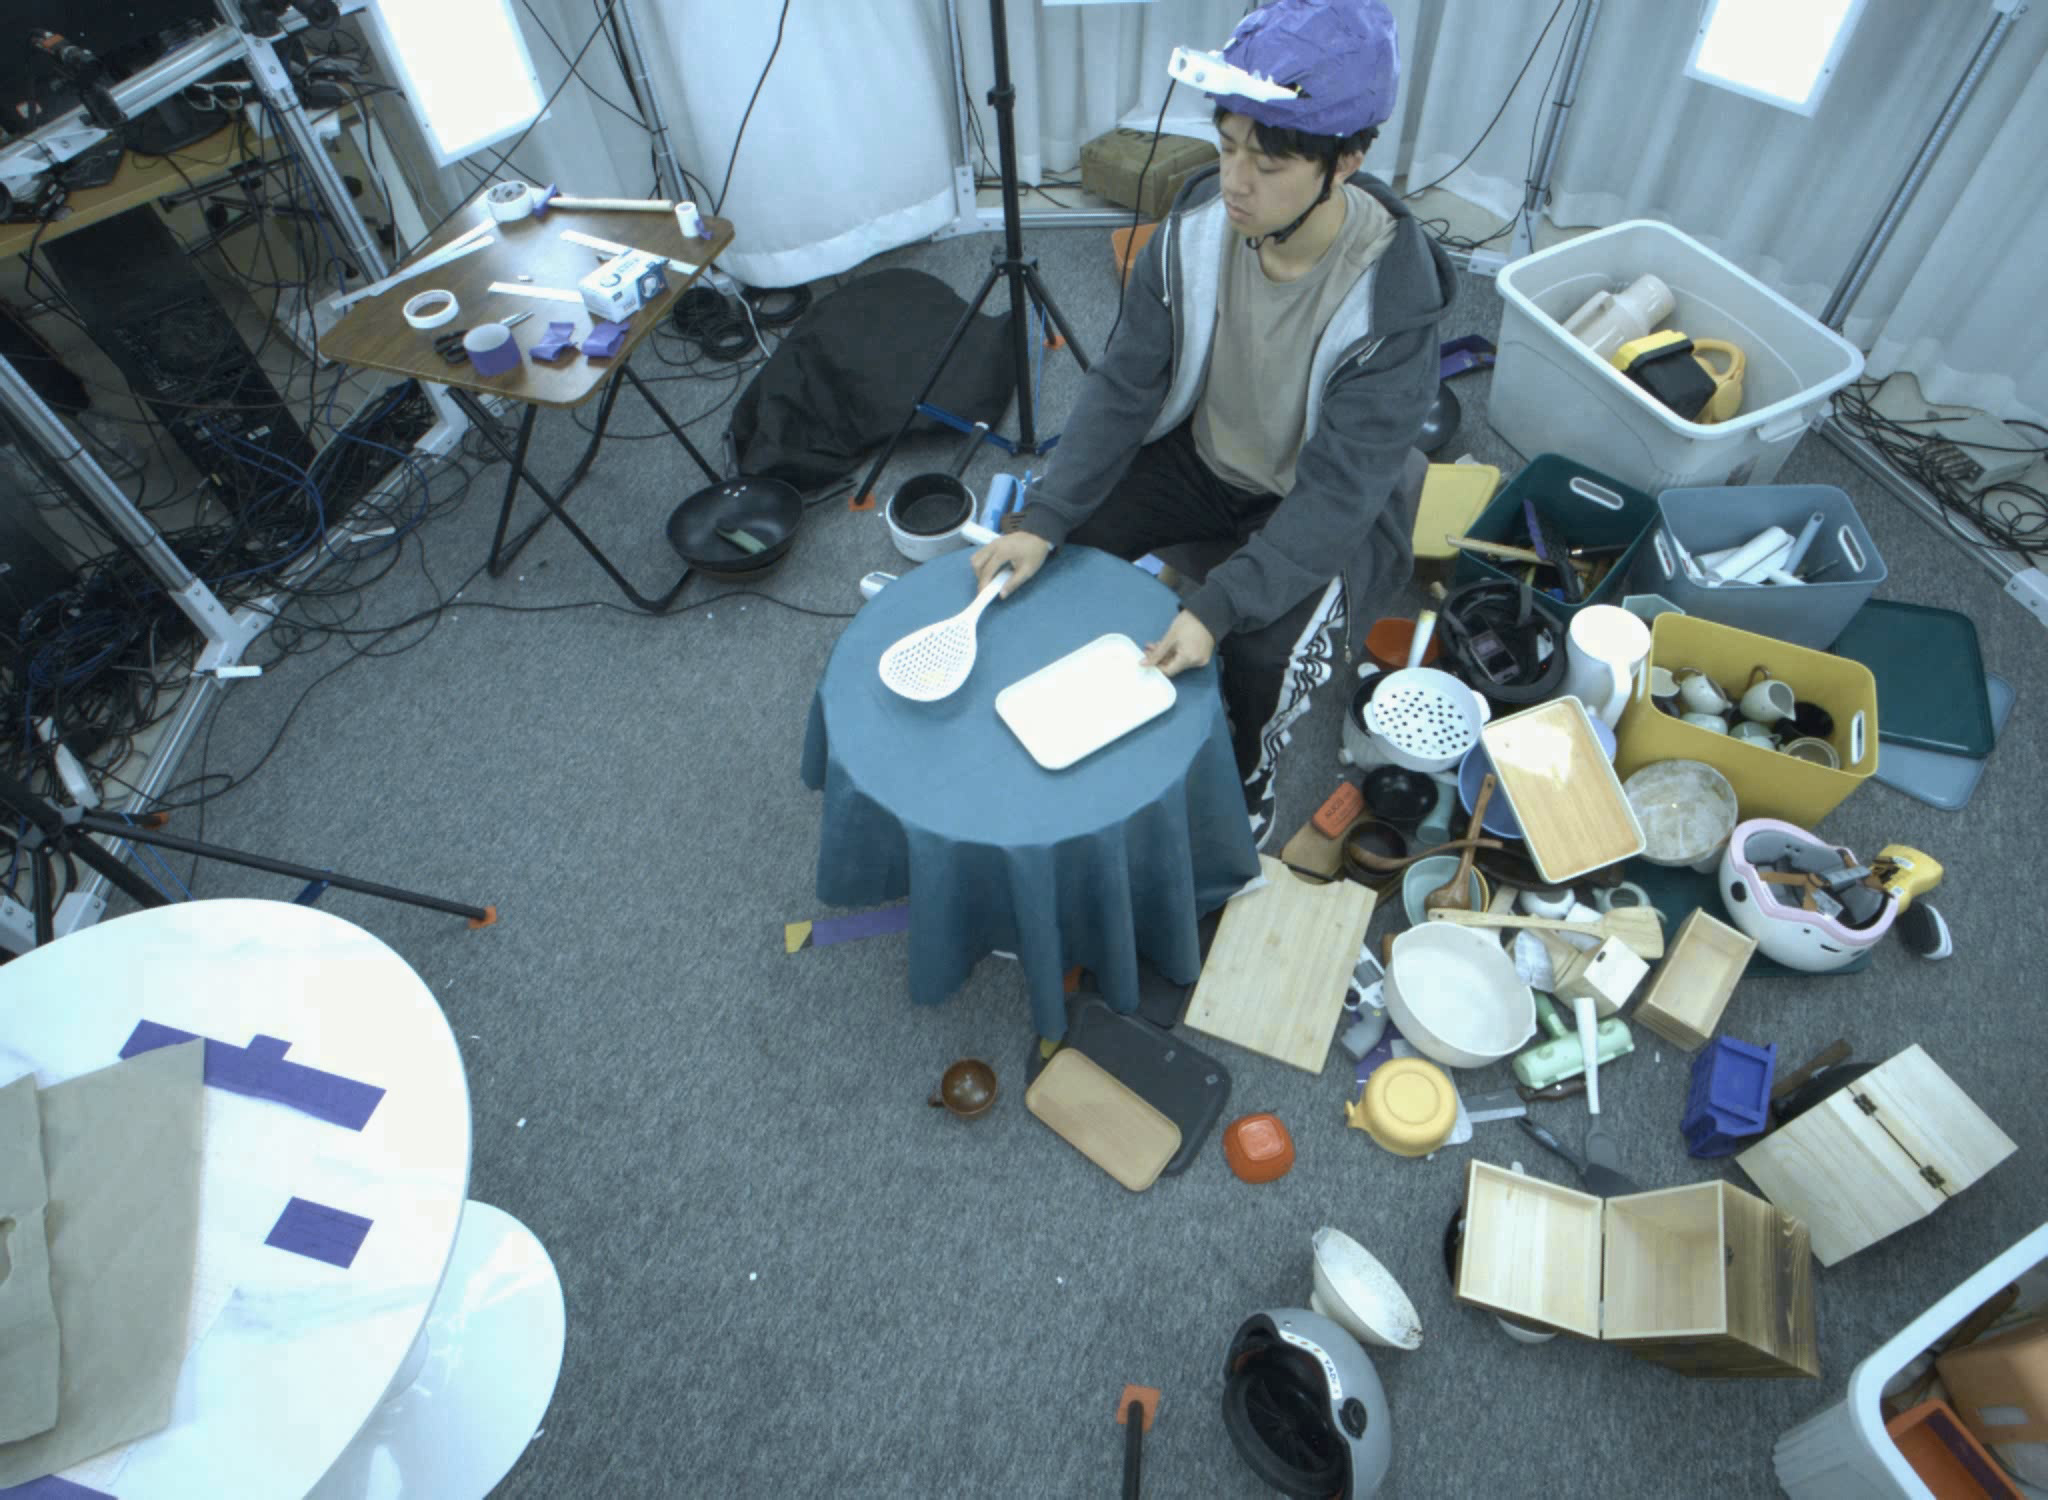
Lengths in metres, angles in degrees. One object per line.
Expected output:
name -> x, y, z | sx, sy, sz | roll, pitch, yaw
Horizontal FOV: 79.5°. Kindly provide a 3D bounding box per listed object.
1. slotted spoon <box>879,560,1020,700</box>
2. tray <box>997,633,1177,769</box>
slotted spoon -> -0.092, -0.195, 1.906 | 0.135, 0.051, 0.349 | 23, 59, 19
tray -> 0.093, -0.073, 1.824 | 0.241, 0.018, 0.168 | -29, 58, -16
